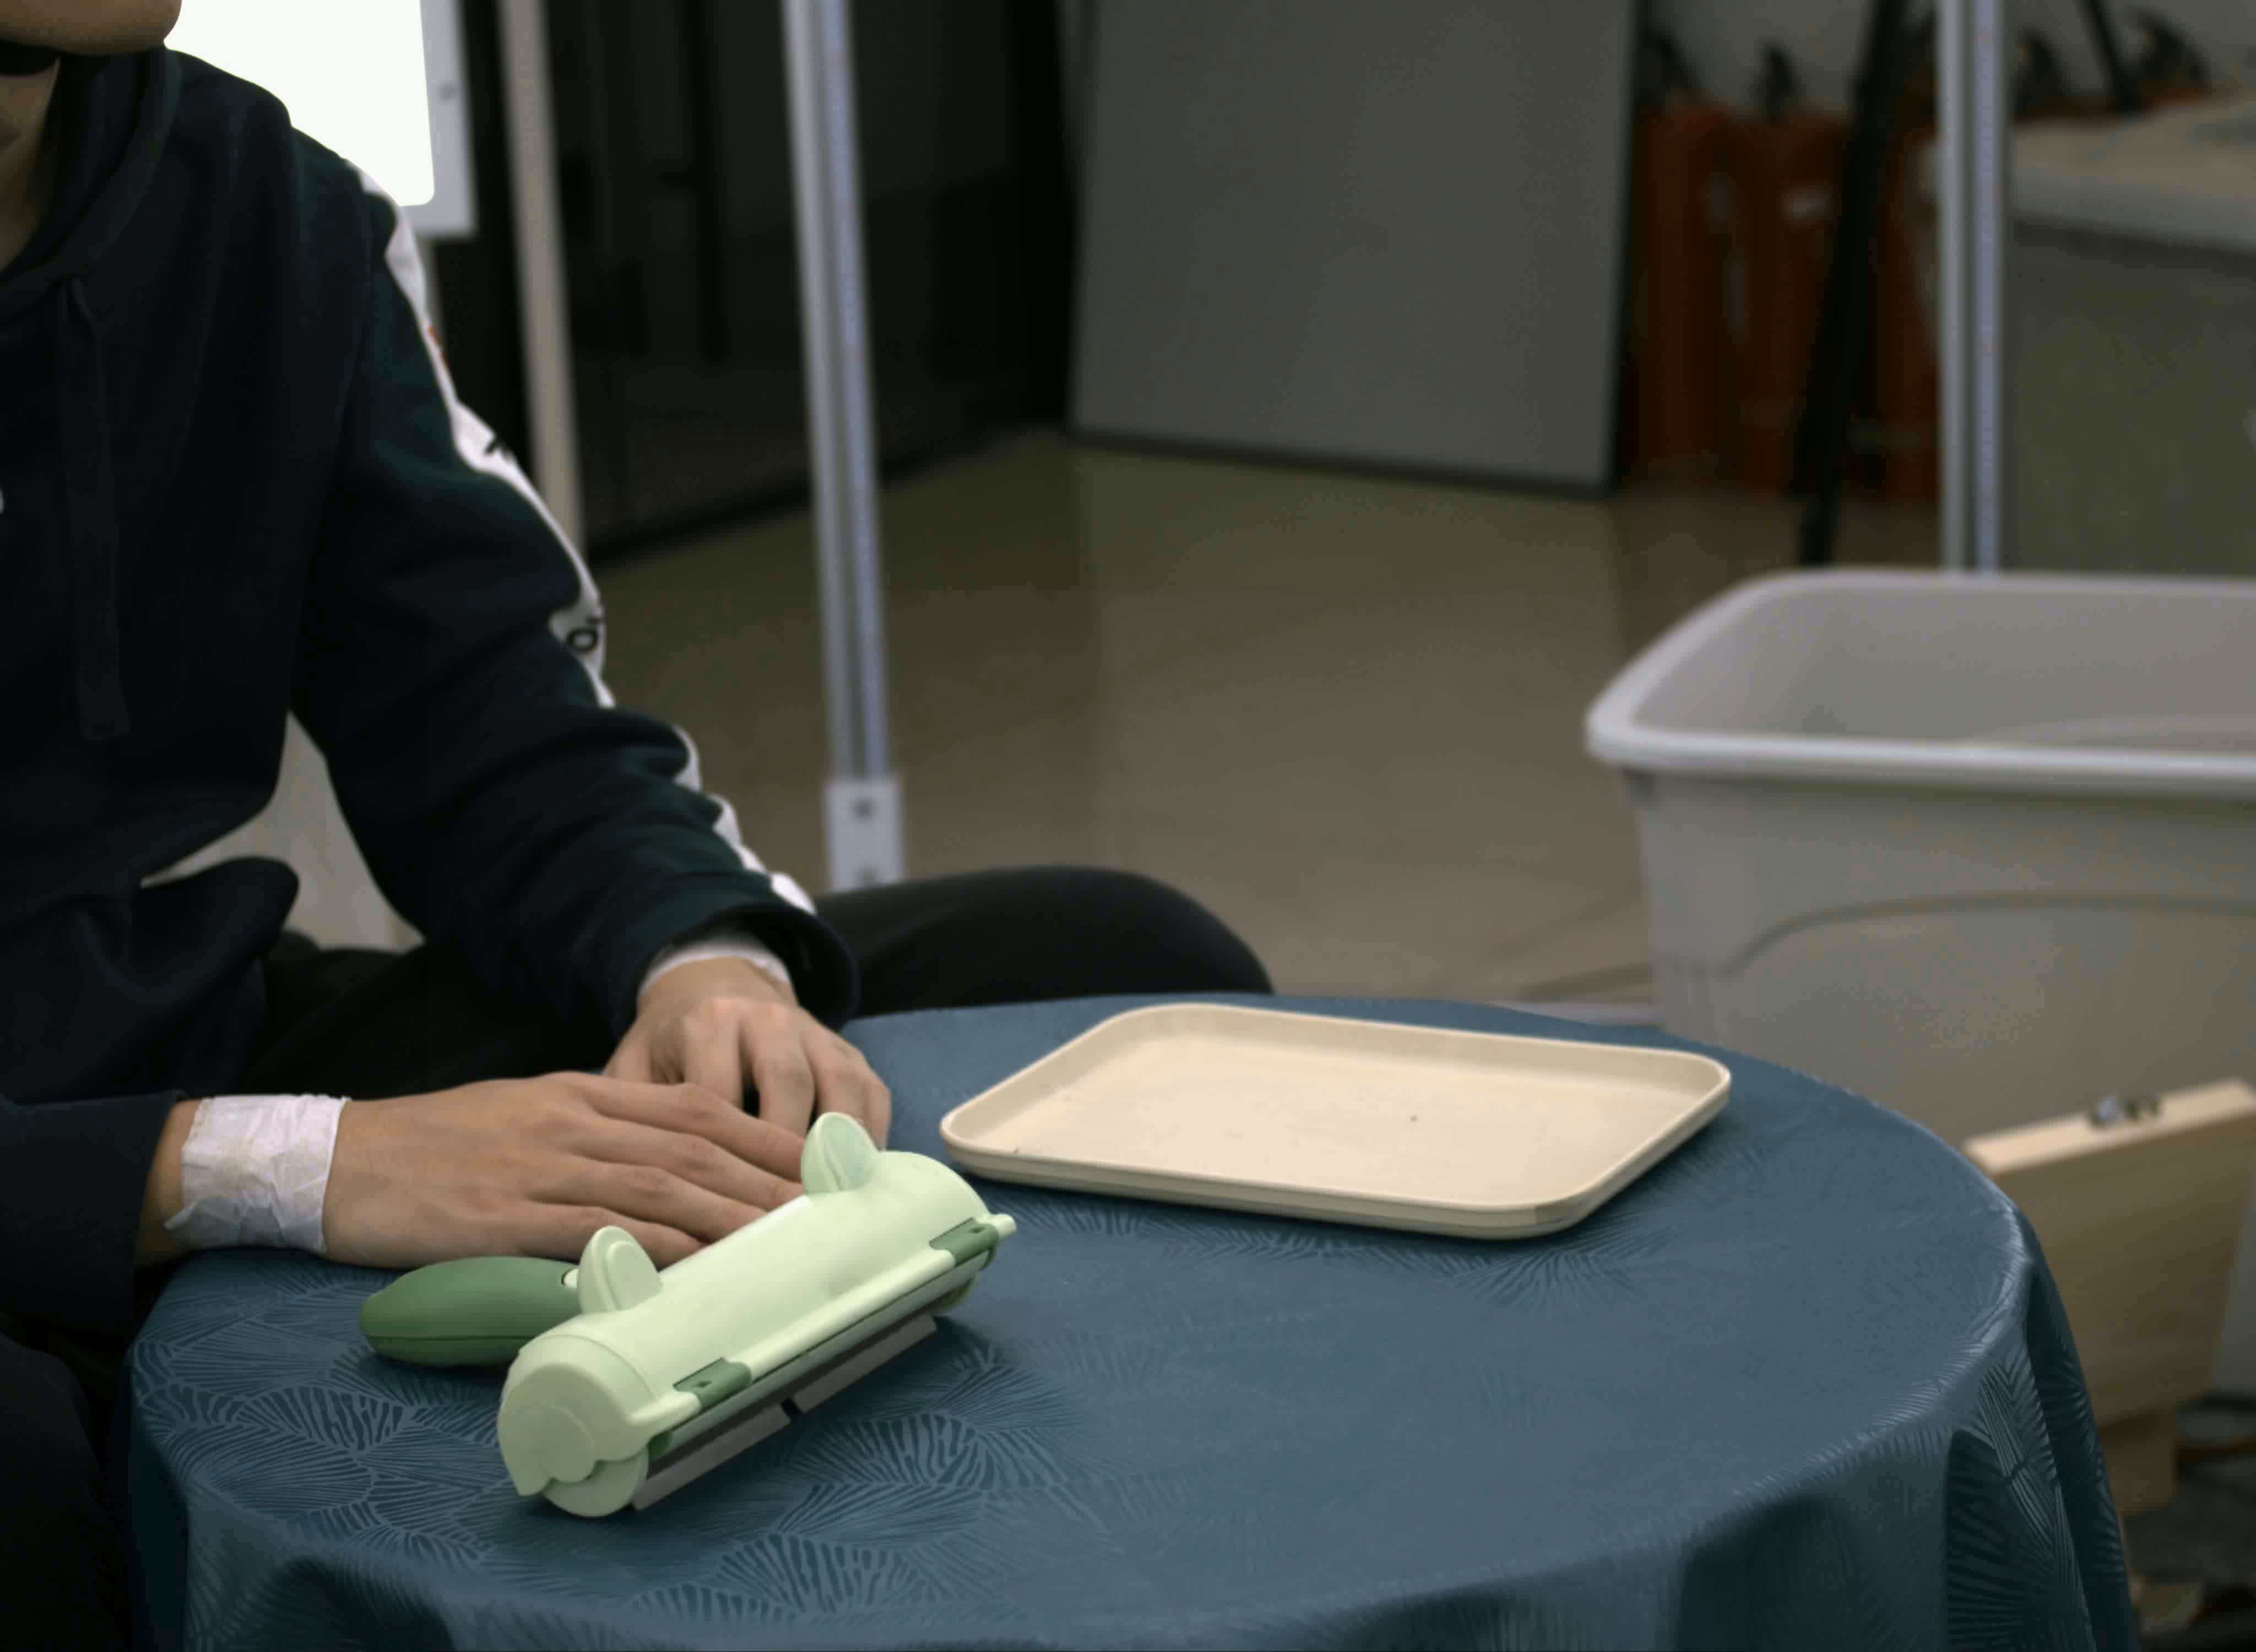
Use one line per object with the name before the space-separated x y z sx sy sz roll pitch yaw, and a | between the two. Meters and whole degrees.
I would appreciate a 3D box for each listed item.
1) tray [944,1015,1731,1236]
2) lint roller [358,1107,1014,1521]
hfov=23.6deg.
tray | 0.071 0.100 1.800 0.240 0.017 0.169 4 15 29
lint roller | -0.157 0.132 1.611 0.184 0.083 0.195 9 19 30
